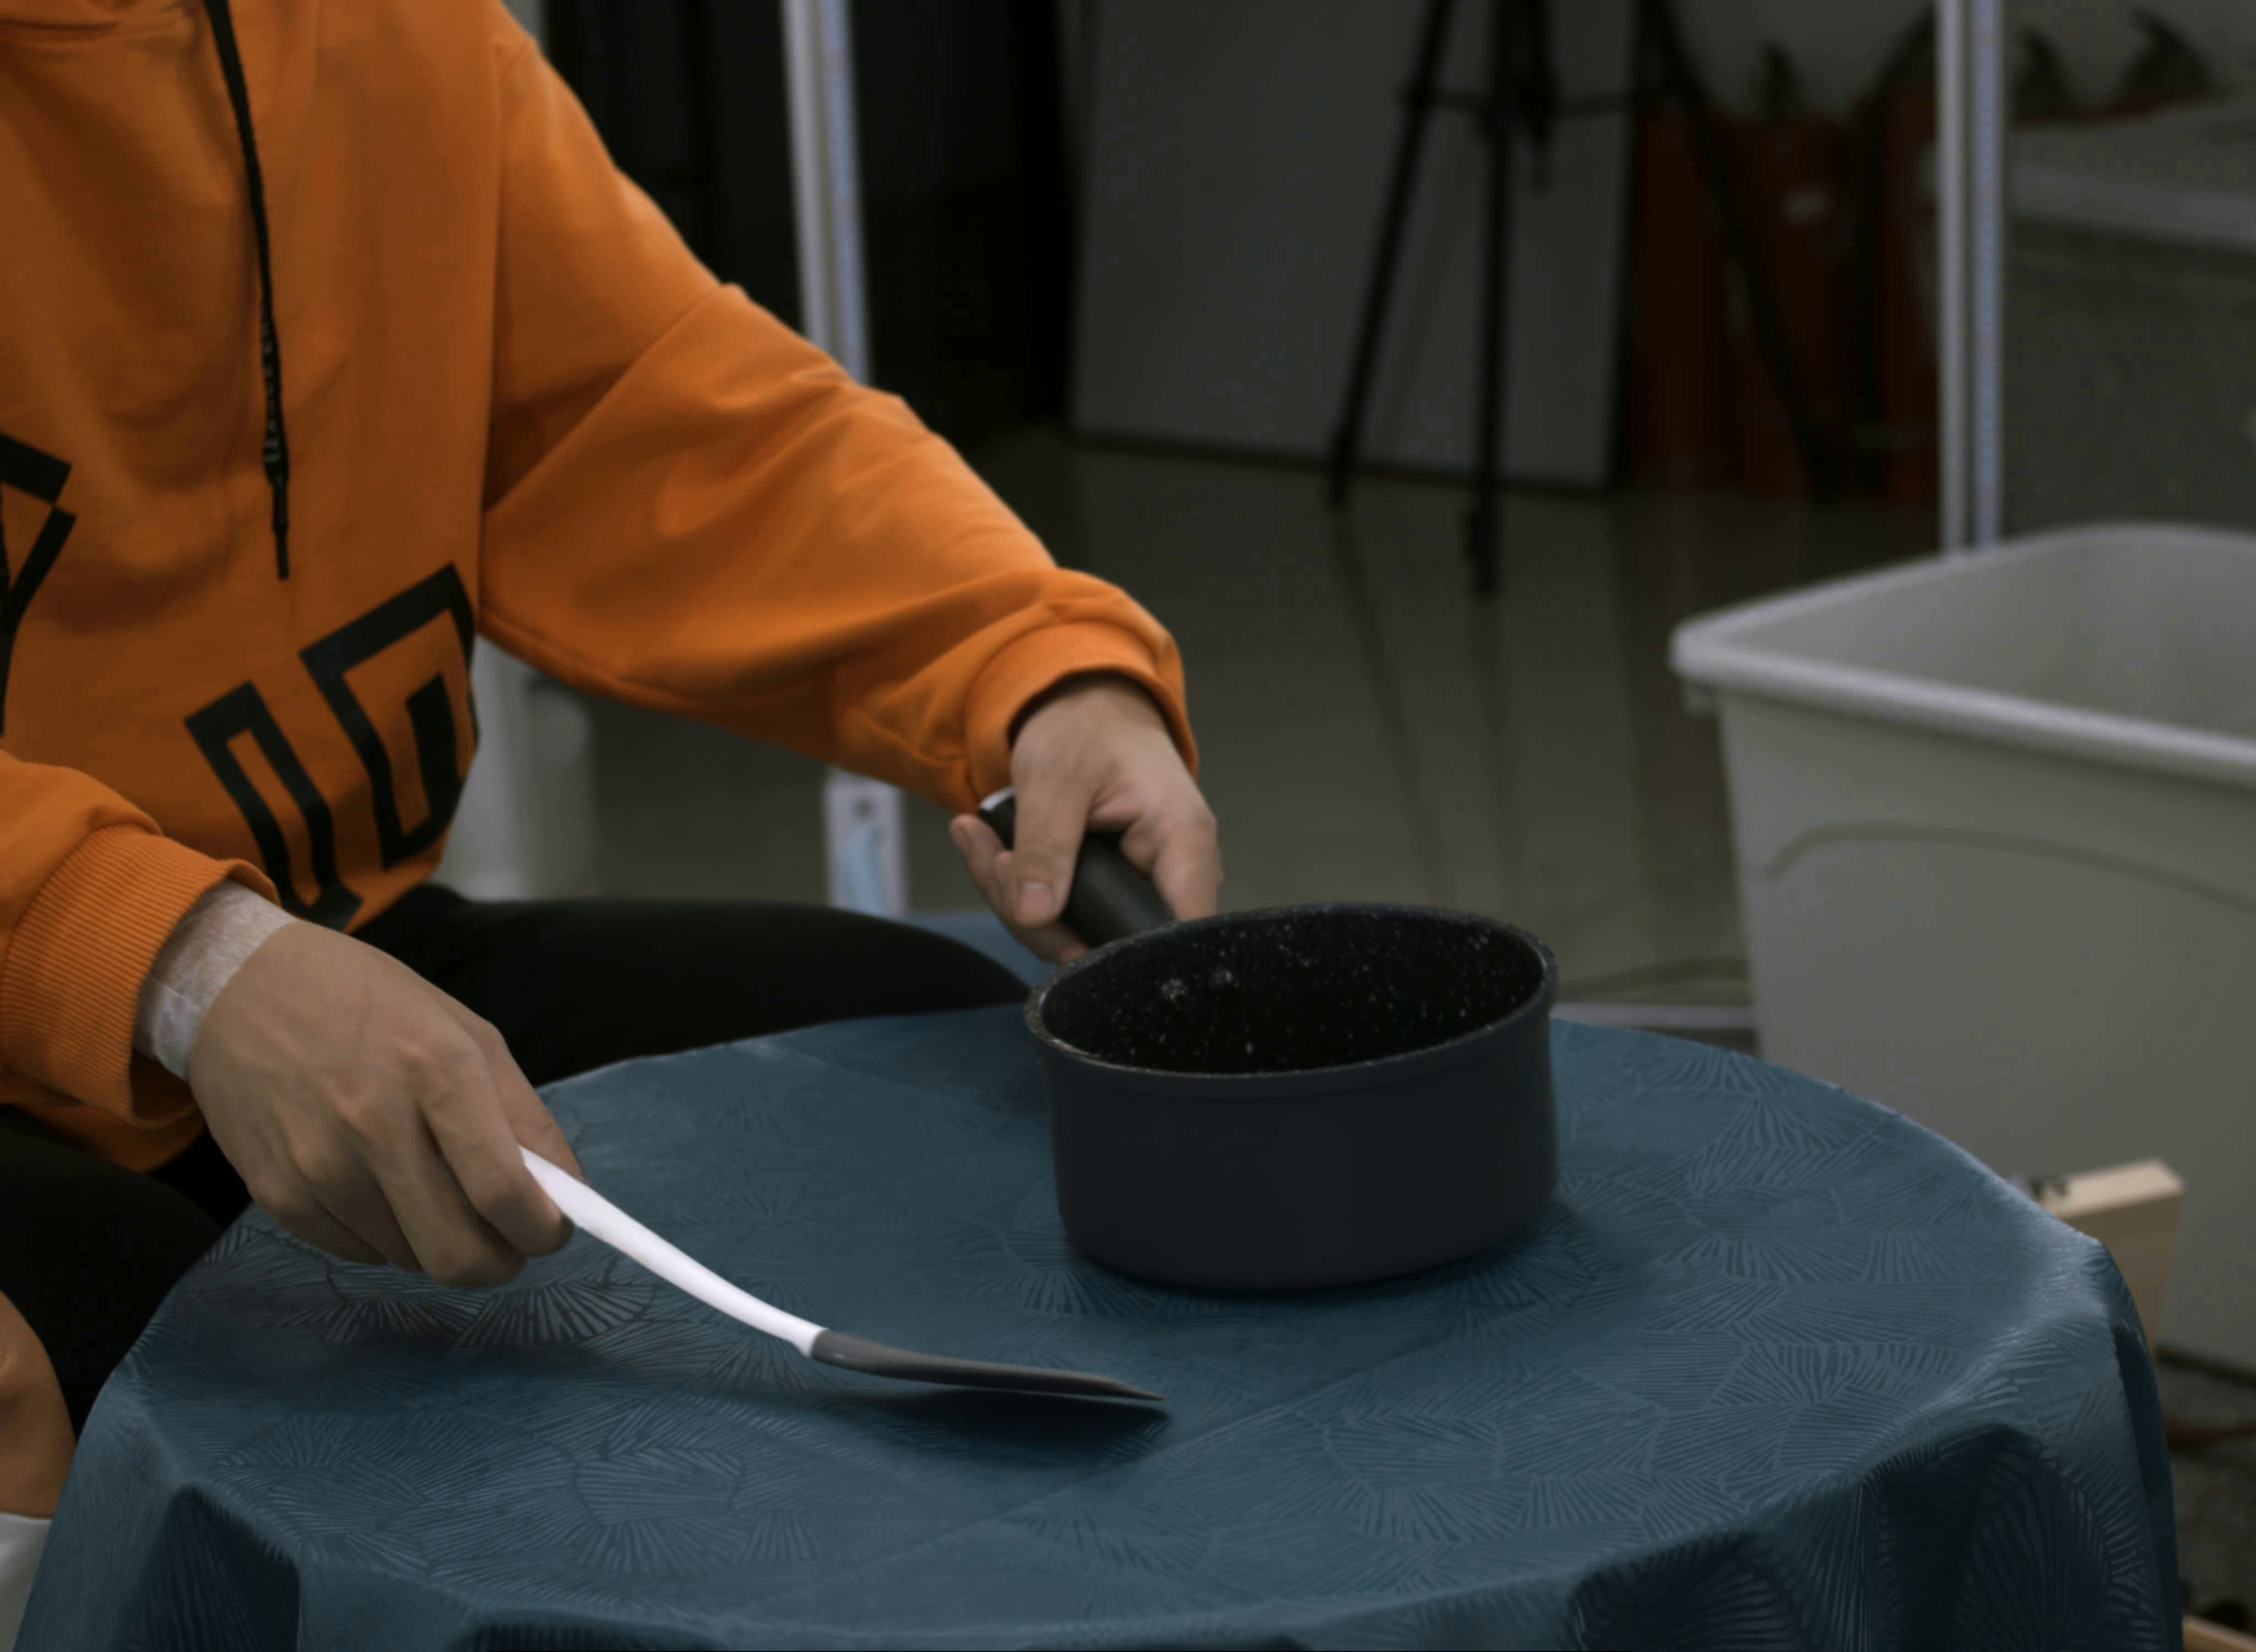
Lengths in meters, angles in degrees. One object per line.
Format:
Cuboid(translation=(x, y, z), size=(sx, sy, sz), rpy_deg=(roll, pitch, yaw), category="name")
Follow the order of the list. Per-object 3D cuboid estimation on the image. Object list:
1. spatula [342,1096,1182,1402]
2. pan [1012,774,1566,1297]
Cuboid(translation=(-0.114, 0.135, 1.613), size=(0.289, 0.032, 0.058), rpy_deg=(17, -8, 29), category="spatula")
Cuboid(translation=(0.029, 0.065, 1.786), size=(0.168, 0.087, 0.332), rpy_deg=(-10, 18, -17), category="pan")
